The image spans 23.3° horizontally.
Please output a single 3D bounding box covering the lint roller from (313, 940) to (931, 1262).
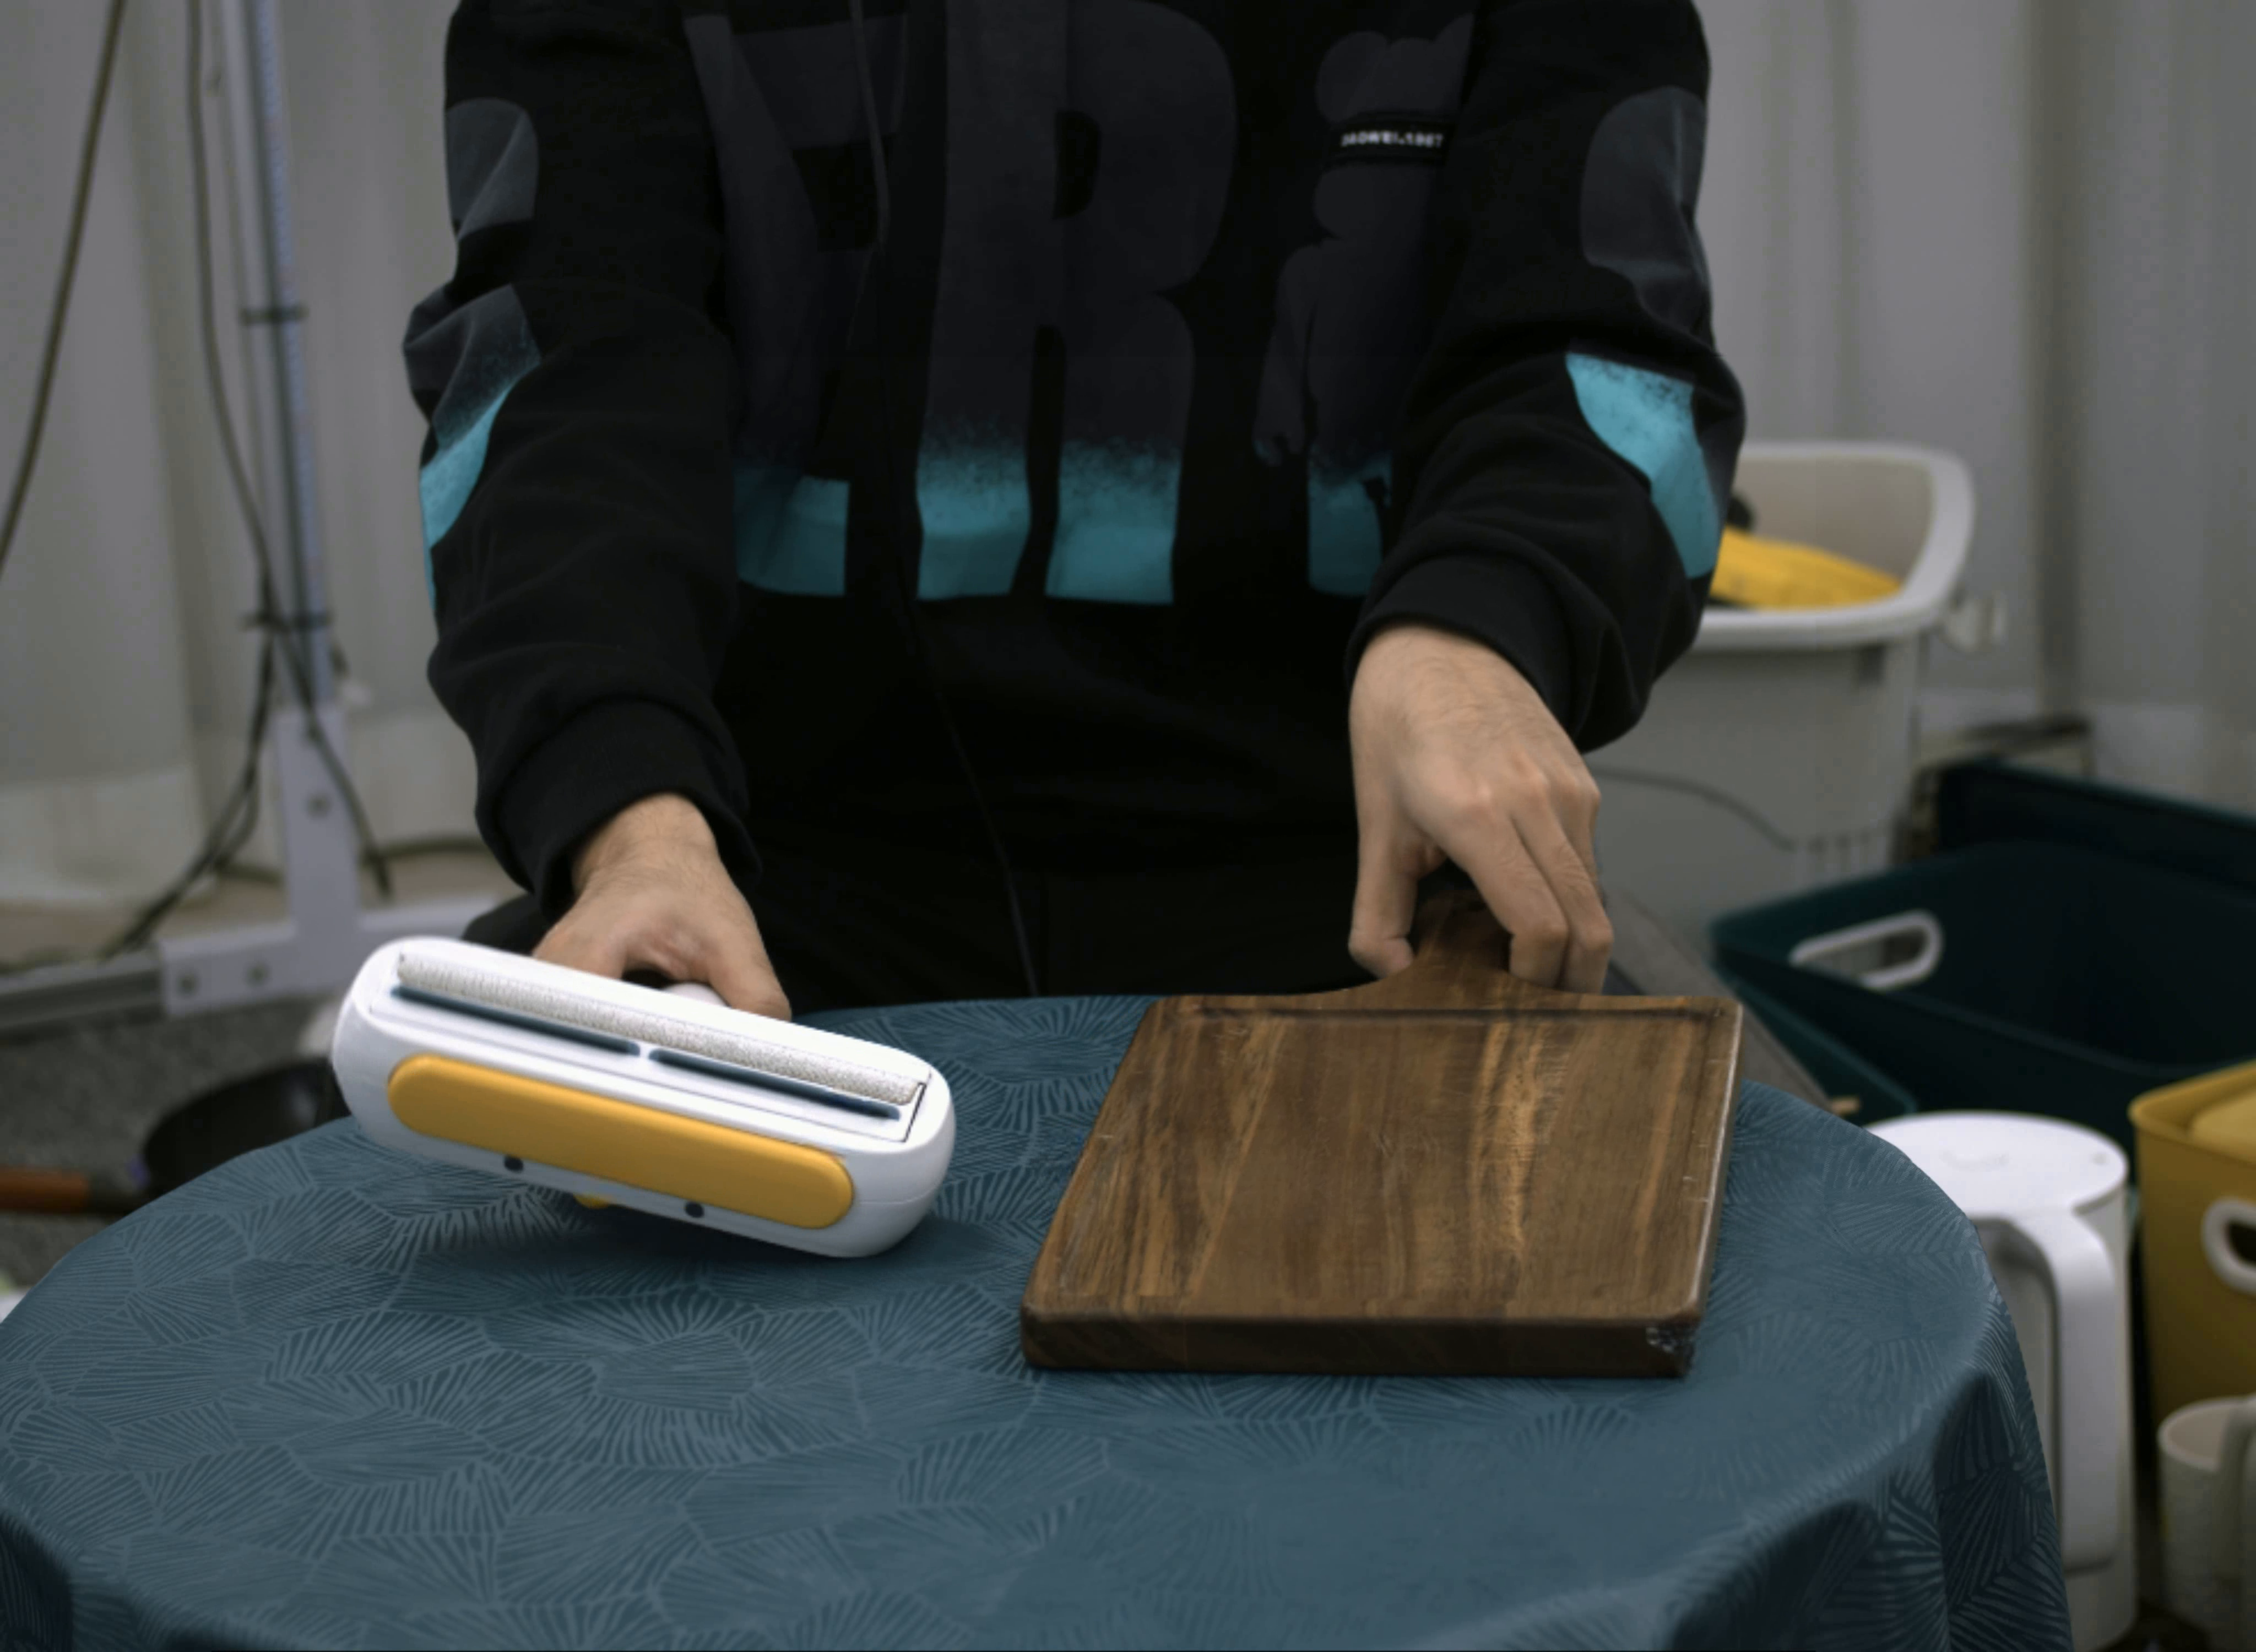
[{"bbox_3d":[-0.145,0.071,1.738,0.192,0.074,0.194,9,21,9],"label":"lint roller"}]

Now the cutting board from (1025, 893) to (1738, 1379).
[{"bbox_3d":[0.090,0.090,1.705,0.200,0.023,0.354,-1,19,9],"label":"cutting board"}]
